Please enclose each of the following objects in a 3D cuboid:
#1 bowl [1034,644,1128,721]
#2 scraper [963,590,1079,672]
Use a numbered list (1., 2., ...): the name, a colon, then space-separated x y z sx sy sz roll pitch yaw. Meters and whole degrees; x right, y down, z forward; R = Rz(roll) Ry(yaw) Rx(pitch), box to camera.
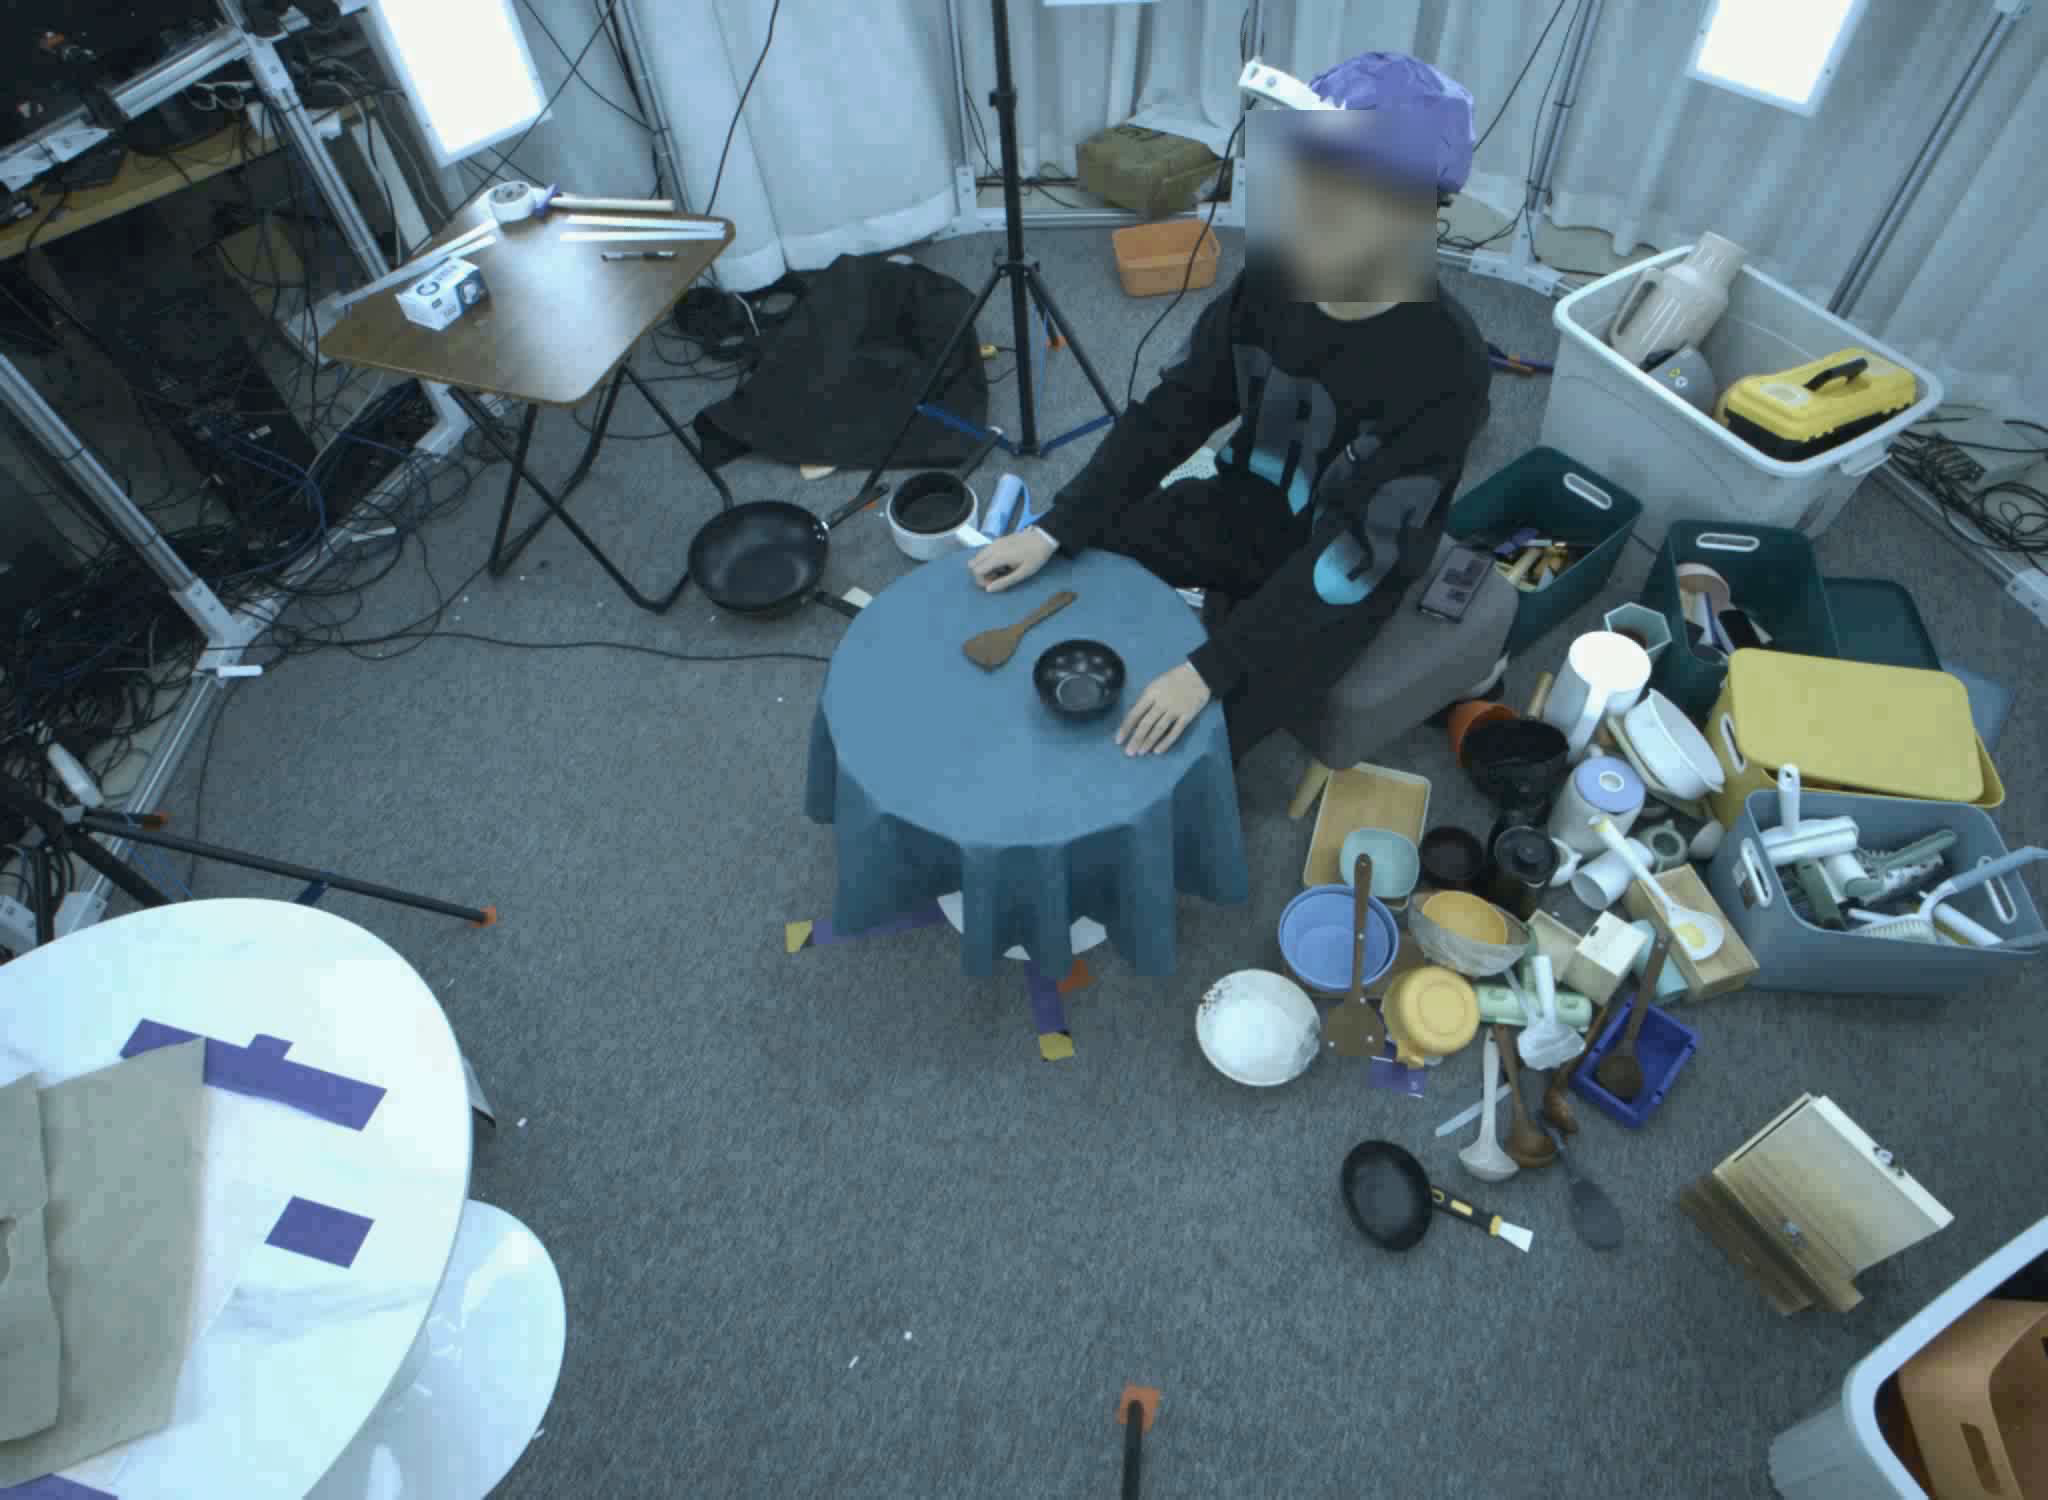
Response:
1. bowl: 0.085 -0.092 1.830 0.140 0.050 0.138 -1 52 3
2. scraper: 0.003 -0.192 1.928 0.213 0.011 0.074 -37 63 -22
